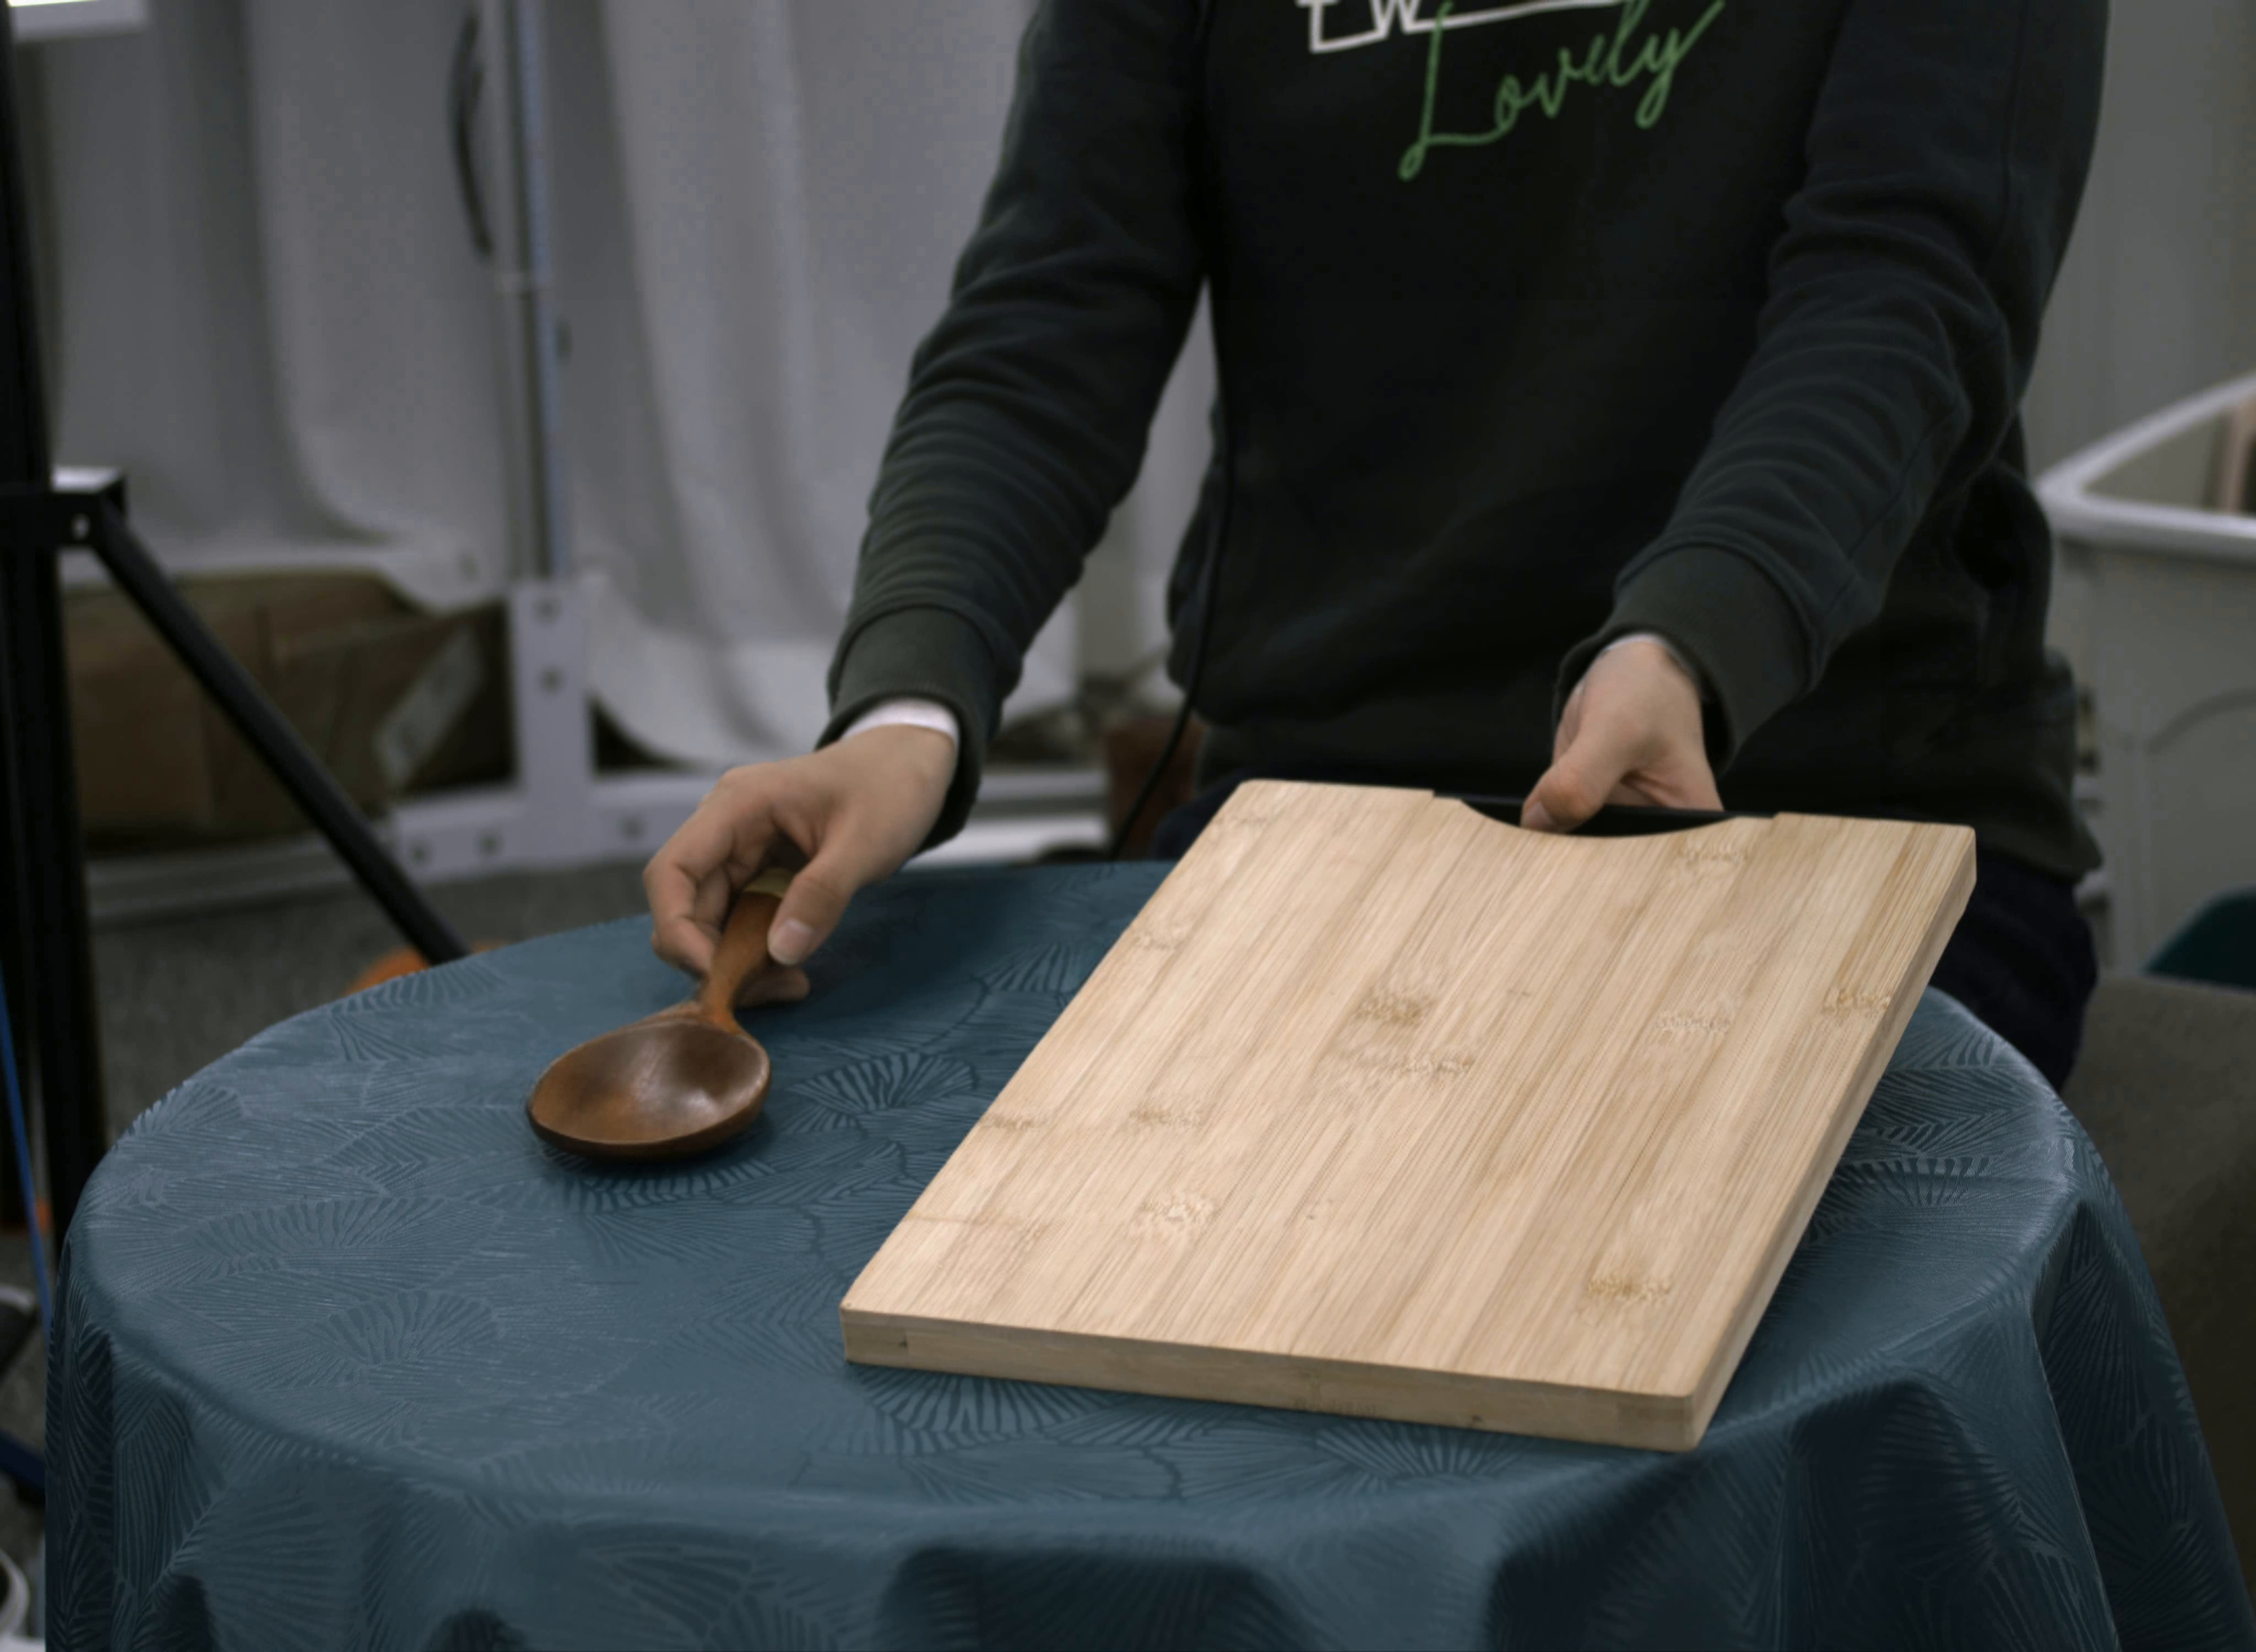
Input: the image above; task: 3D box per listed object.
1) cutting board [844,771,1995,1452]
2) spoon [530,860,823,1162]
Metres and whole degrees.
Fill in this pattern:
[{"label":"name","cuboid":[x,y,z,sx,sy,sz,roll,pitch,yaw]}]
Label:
[{"label":"cutting board","cuboid":[0.094,0.072,1.534,0.254,0.023,0.346,4,27,21]},{"label":"spoon","cuboid":[-0.132,0.060,1.687,0.076,0.017,0.215,-1,23,13]}]
